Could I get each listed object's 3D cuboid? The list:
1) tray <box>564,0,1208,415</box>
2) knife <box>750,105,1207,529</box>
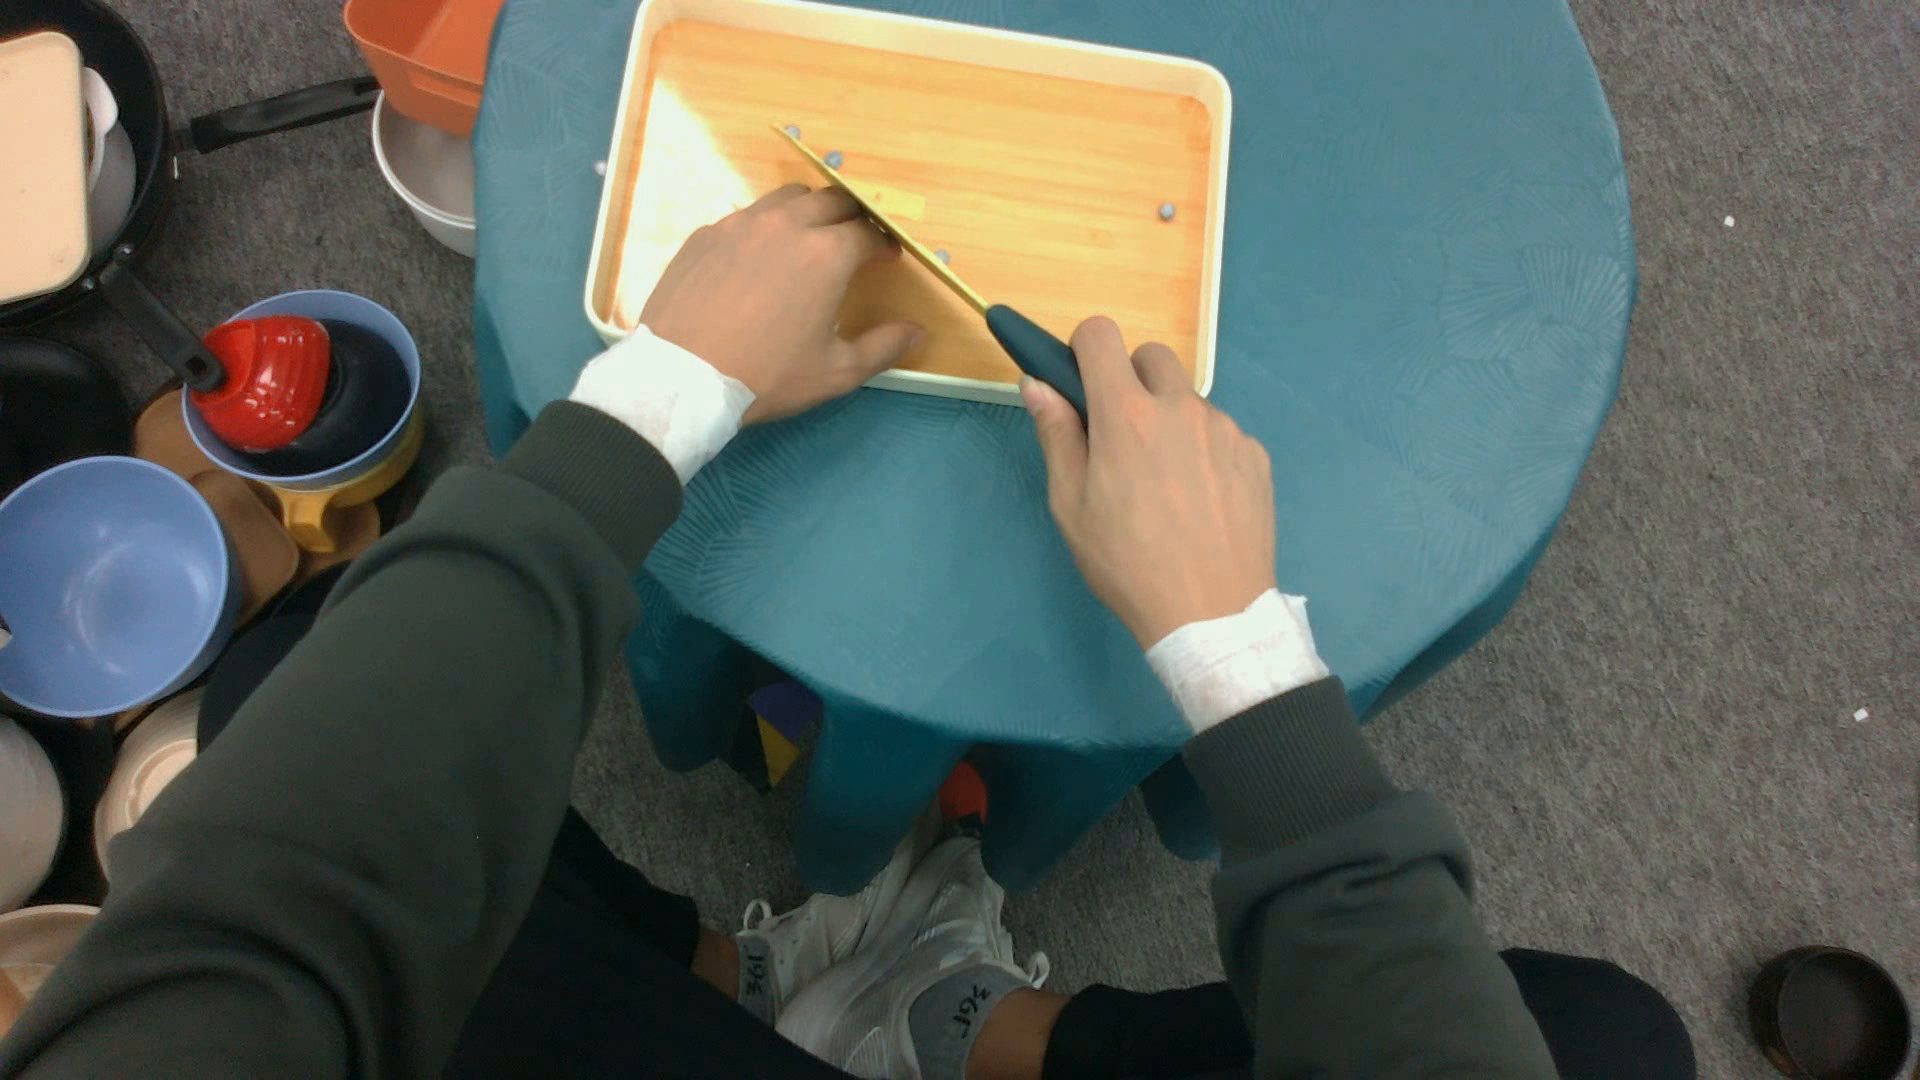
[{"bbox_3d":[-0.030,-0.170,0.682,0.300,0.027,0.192,7,75,-4],"label":"tray"},{"bbox_3d":[0.002,-0.107,0.626,0.289,0.081,0.027,44,97,12],"label":"knife"}]
